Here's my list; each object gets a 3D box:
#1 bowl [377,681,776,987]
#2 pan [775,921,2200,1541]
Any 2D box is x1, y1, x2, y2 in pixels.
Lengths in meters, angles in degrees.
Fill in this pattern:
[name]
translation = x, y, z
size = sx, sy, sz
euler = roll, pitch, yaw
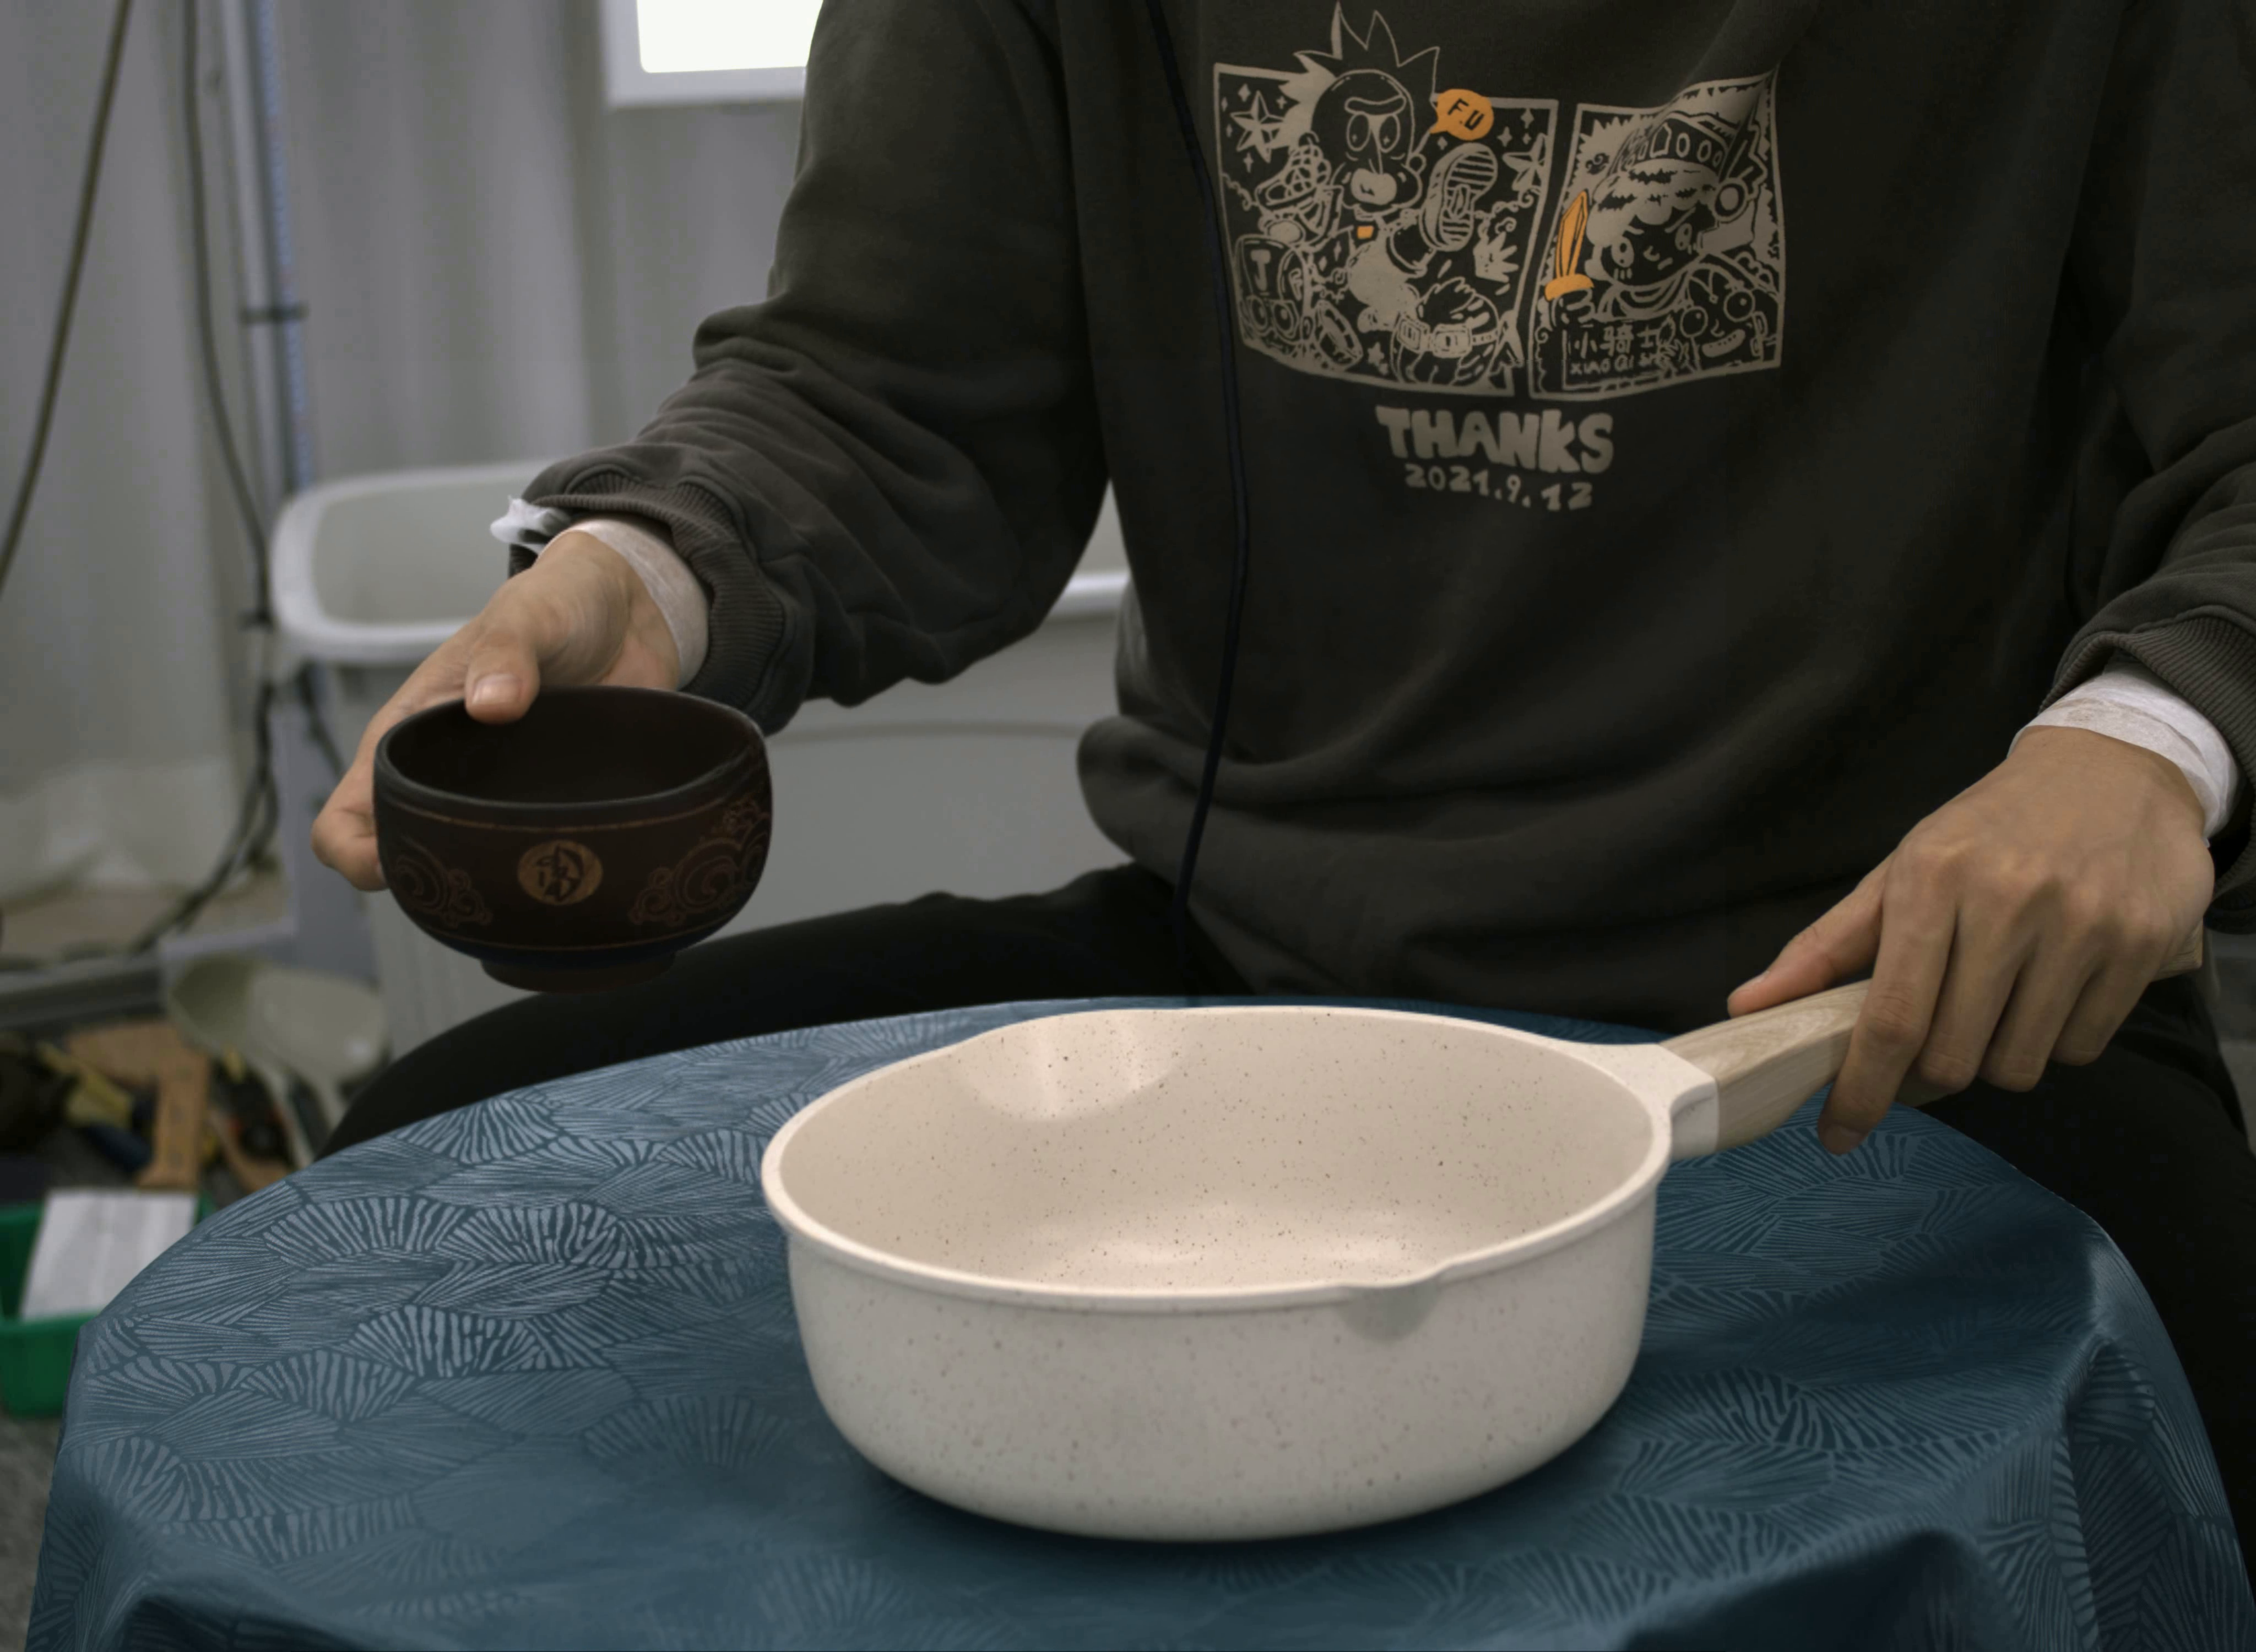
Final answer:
[bowl]
translation = -0.162, 0.006, 1.621
size = 0.117, 0.069, 0.119
euler = 0, 17, 0
[pan]
translation = 0.115, 0.107, 1.541
size = 0.433, 0.101, 0.265
euler = -8, 14, -20
